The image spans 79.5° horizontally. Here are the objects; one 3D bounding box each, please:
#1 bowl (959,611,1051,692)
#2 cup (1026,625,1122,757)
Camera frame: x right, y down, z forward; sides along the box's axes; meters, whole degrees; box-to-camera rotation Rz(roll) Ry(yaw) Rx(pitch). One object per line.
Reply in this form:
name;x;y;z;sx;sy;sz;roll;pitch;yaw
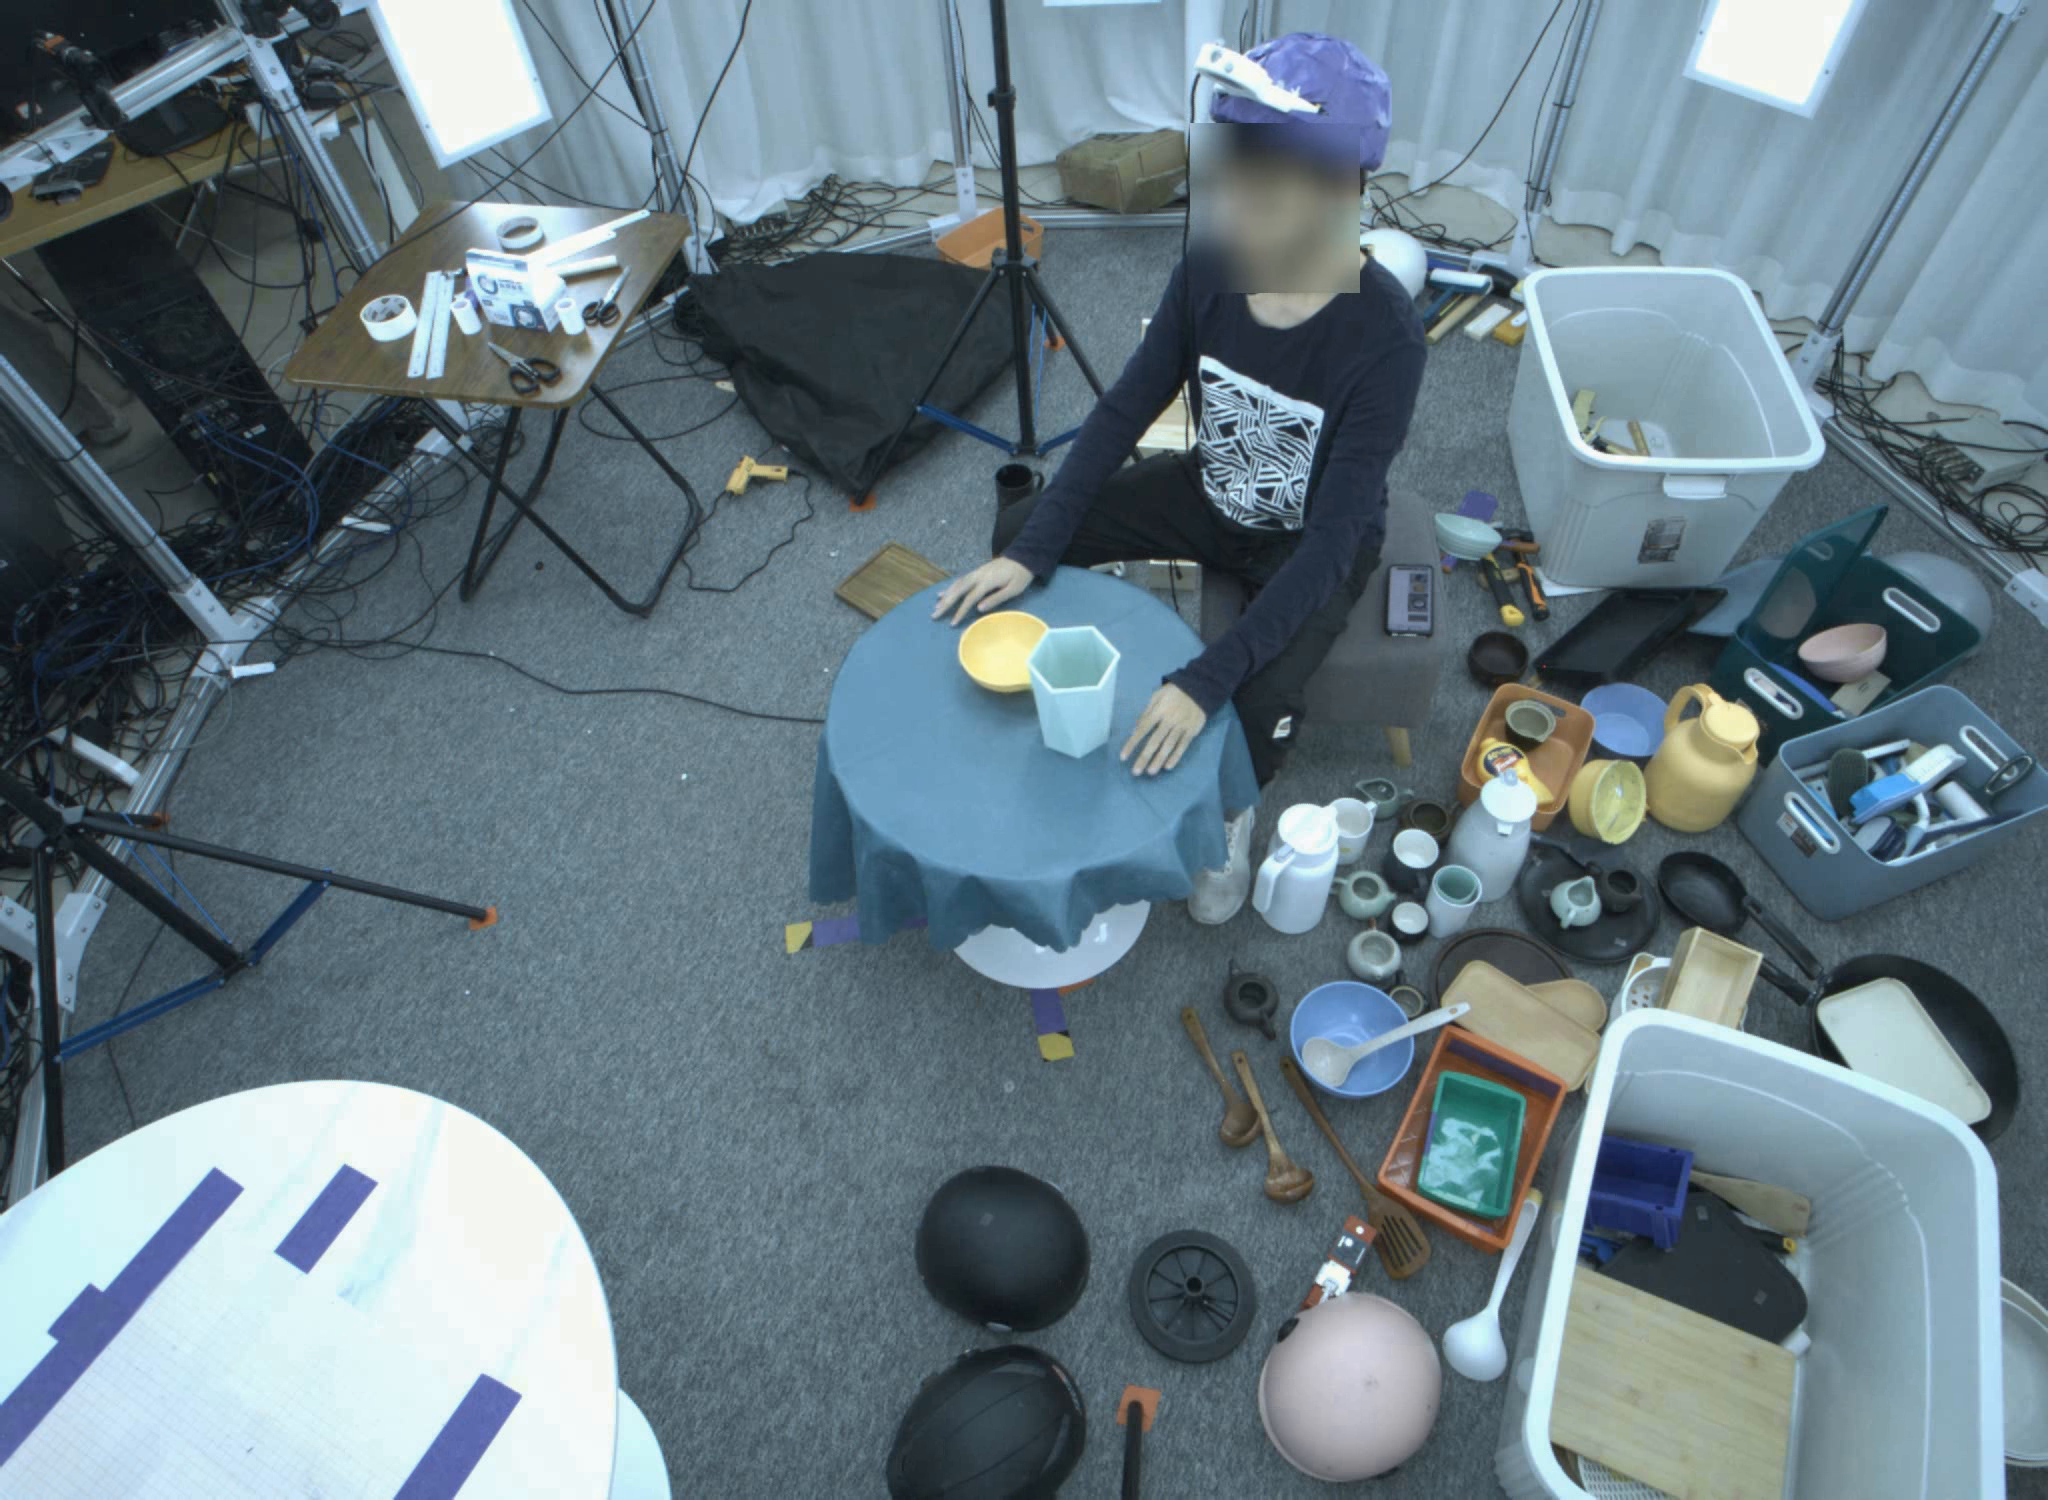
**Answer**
bowl;-0.025;-0.137;1.843;0.145;0.061;0.144;0;54;1
cup;0.071;-0.077;1.731;0.116;0.164;0.128;-30;59;-19
